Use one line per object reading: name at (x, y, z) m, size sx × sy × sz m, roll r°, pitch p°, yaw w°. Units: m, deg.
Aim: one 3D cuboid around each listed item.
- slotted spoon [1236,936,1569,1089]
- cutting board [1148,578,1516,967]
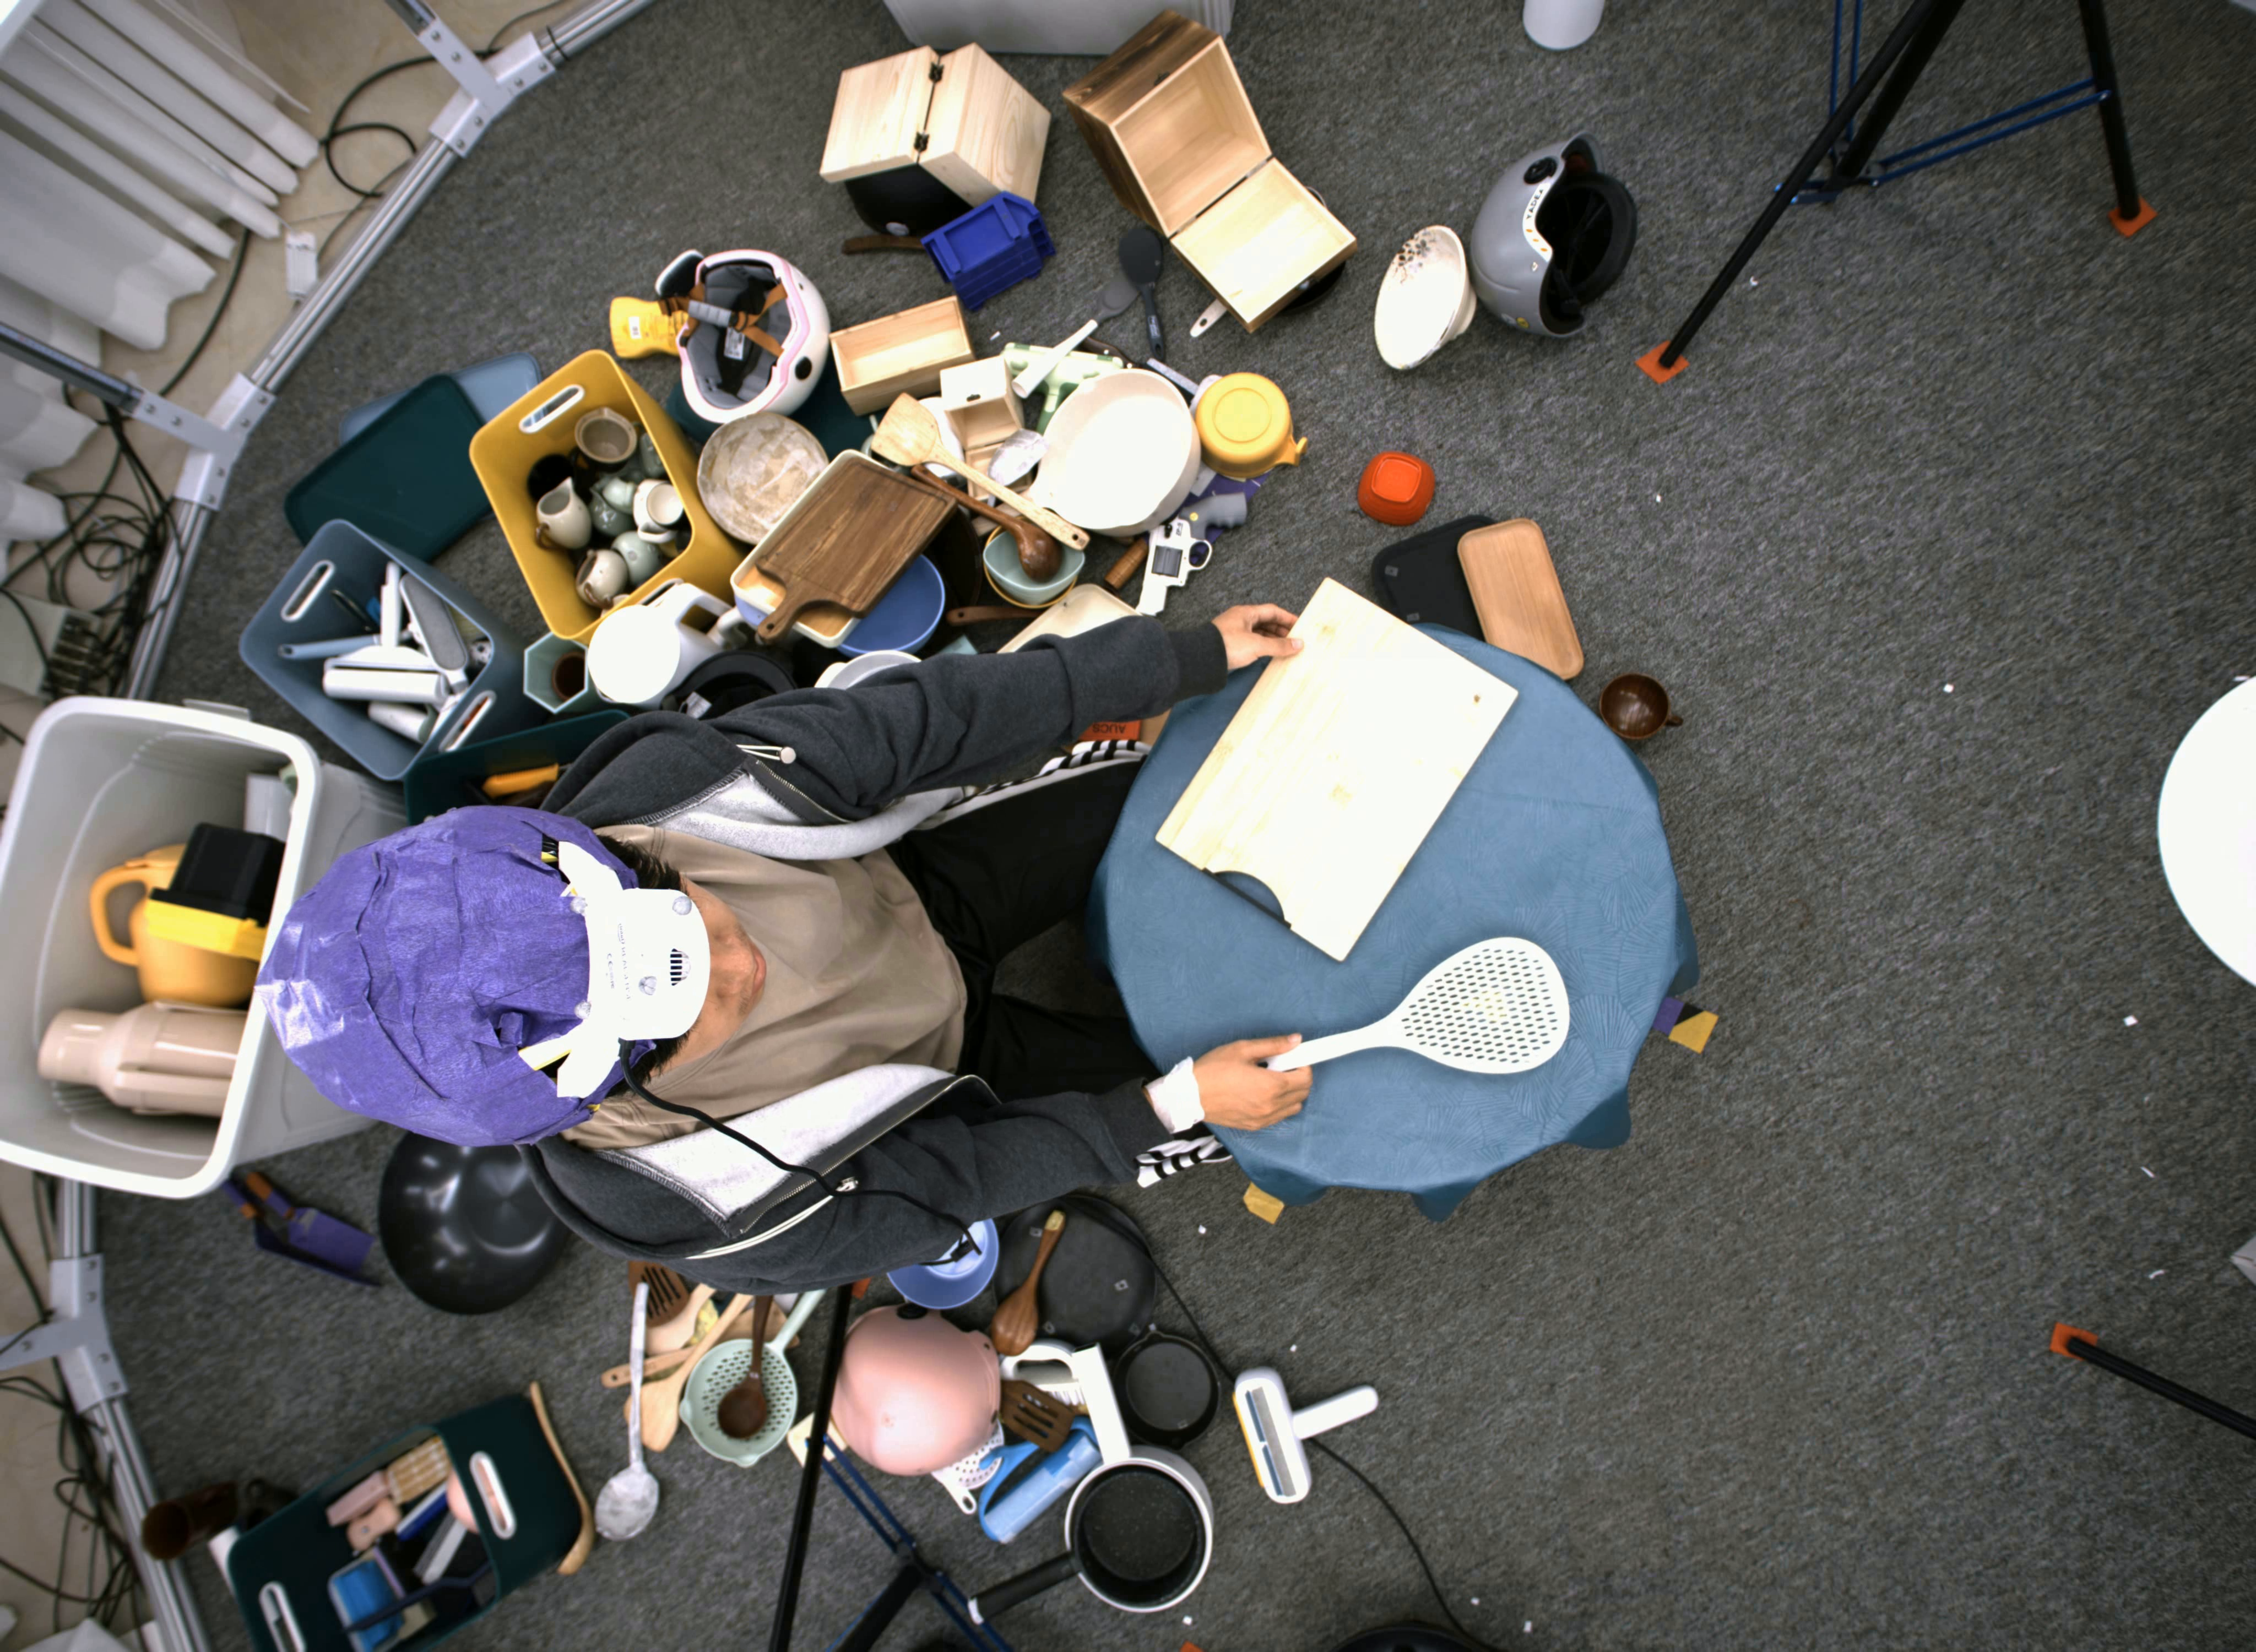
slotted spoon at (0.276, 0.211, 1.426) m, size 0.349 × 0.050 × 0.136 m, roll -17°, pitch 85°, yaw 7°
cutting board at (0.217, -0.060, 1.468) m, size 0.250 × 0.023 × 0.349 m, roll 33°, pitch 93°, yaw 11°
